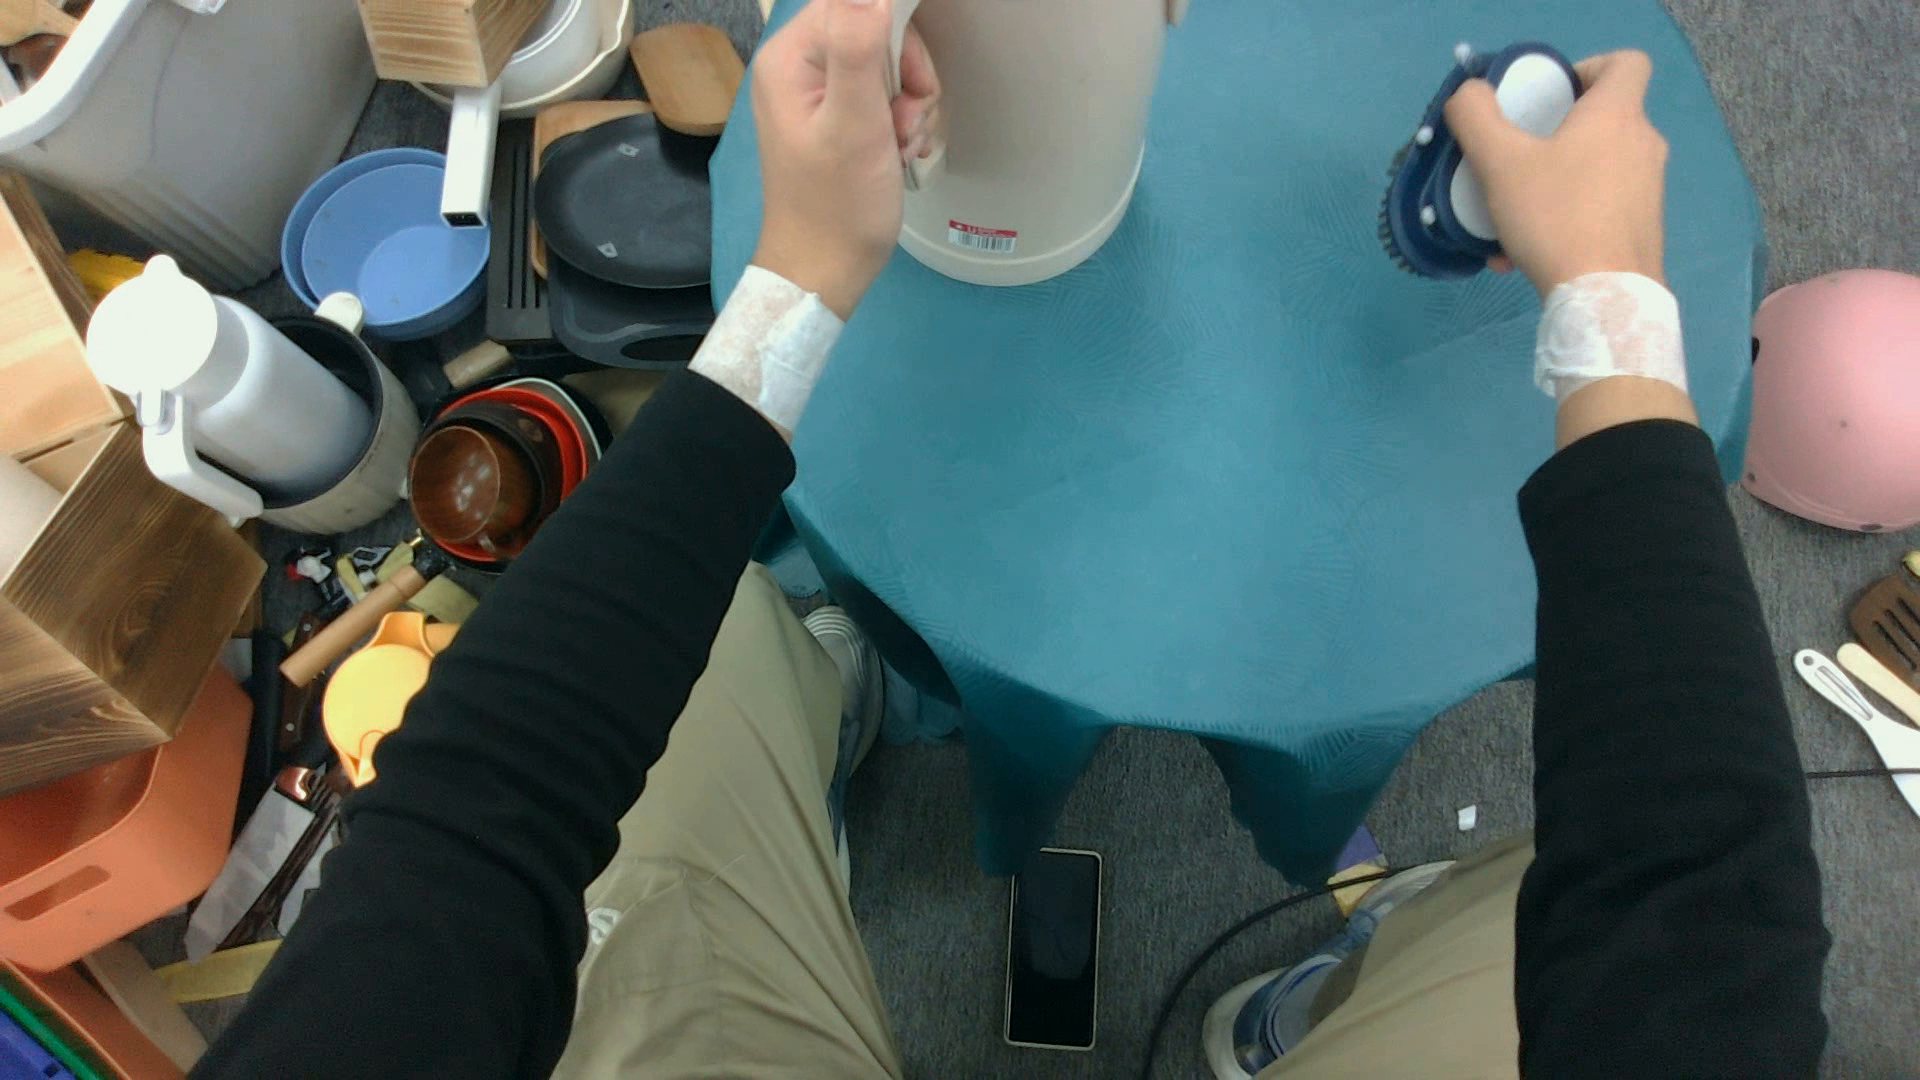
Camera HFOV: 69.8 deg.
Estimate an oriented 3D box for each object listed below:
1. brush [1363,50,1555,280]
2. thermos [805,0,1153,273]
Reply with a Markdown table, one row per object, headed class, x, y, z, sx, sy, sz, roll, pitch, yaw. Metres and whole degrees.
| class | x | y | z | sx | sy | sz | roll | pitch | yaw |
| --- | --- | --- | --- | --- | --- | --- | --- | --- | --- |
| brush | 0.251 | -0.189 | 0.703 | 0.068 | 0.061 | 0.122 | 31 | 80 | -8 |
| thermos | 0.001 | -0.264 | 0.611 | 0.175 | 0.405 | 0.207 | 29 | 77 | 5 |
